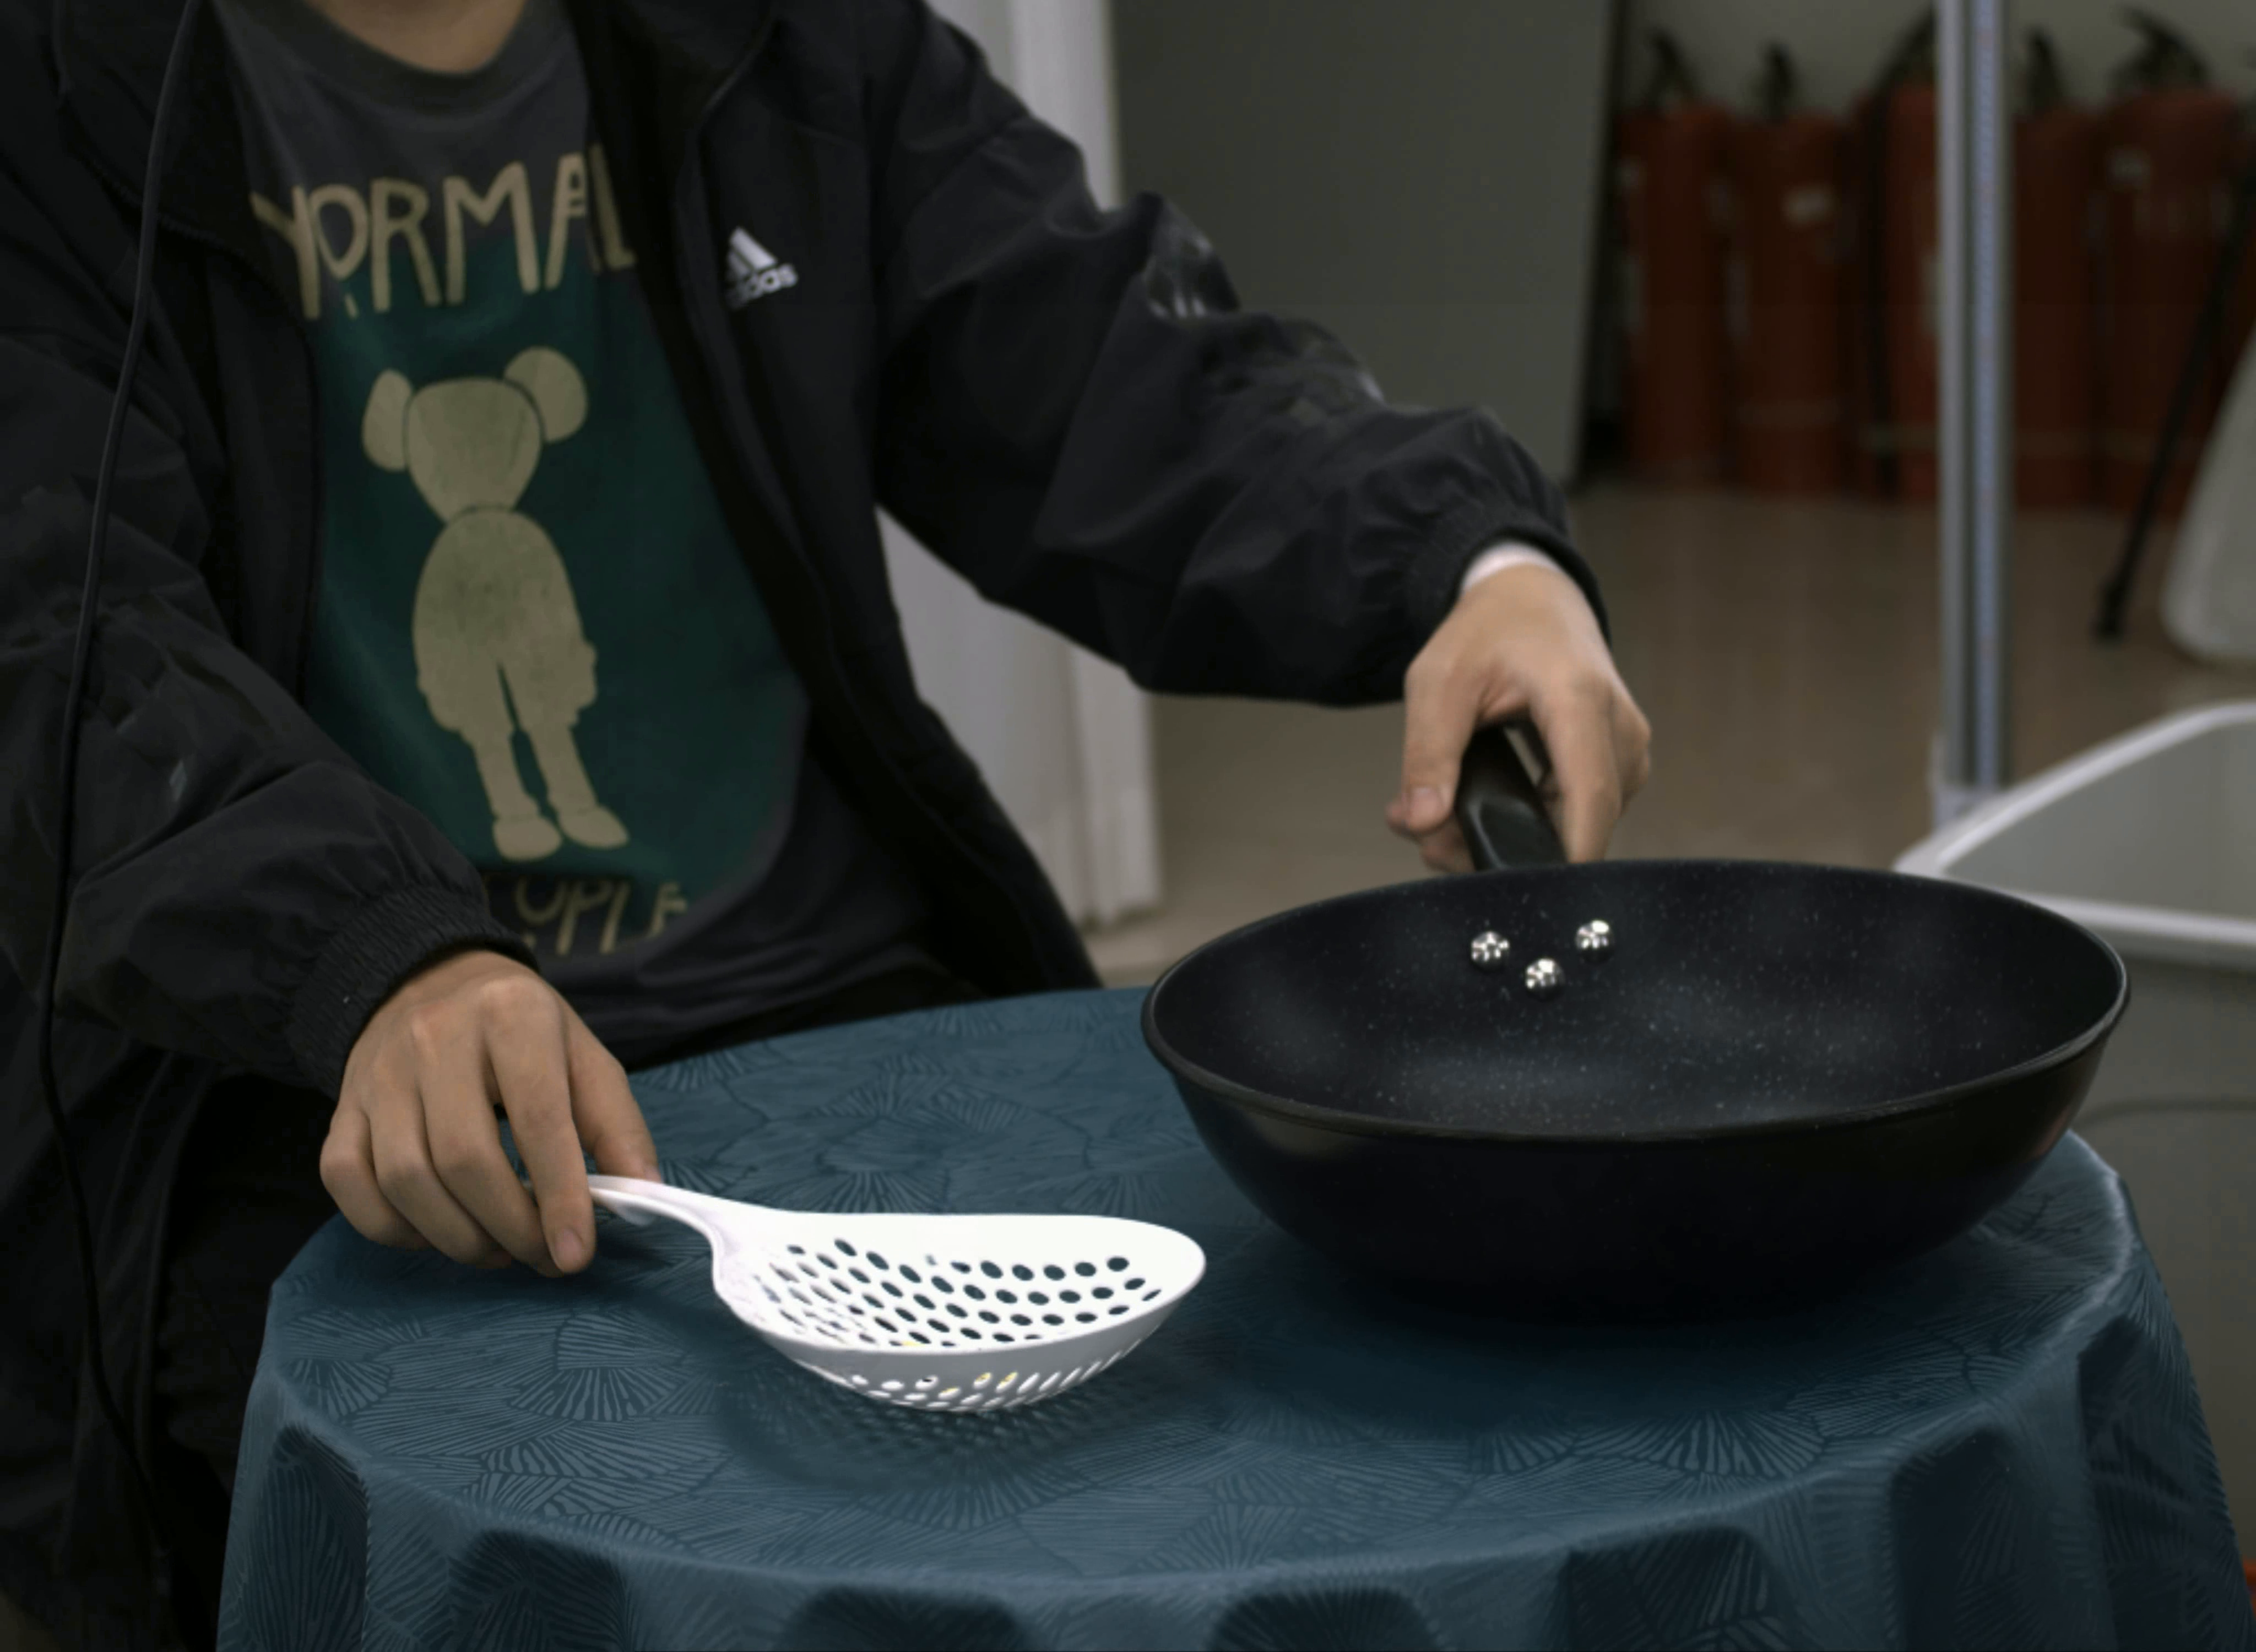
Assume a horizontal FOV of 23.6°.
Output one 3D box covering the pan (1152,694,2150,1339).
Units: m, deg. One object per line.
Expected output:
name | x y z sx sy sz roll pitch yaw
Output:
pan | 0.150 0.061 1.750 0.305 0.113 0.479 -4 14 -6

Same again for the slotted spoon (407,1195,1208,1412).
slotted spoon | -0.116 0.135 1.667 0.134 0.051 0.351 -16 18 -38
